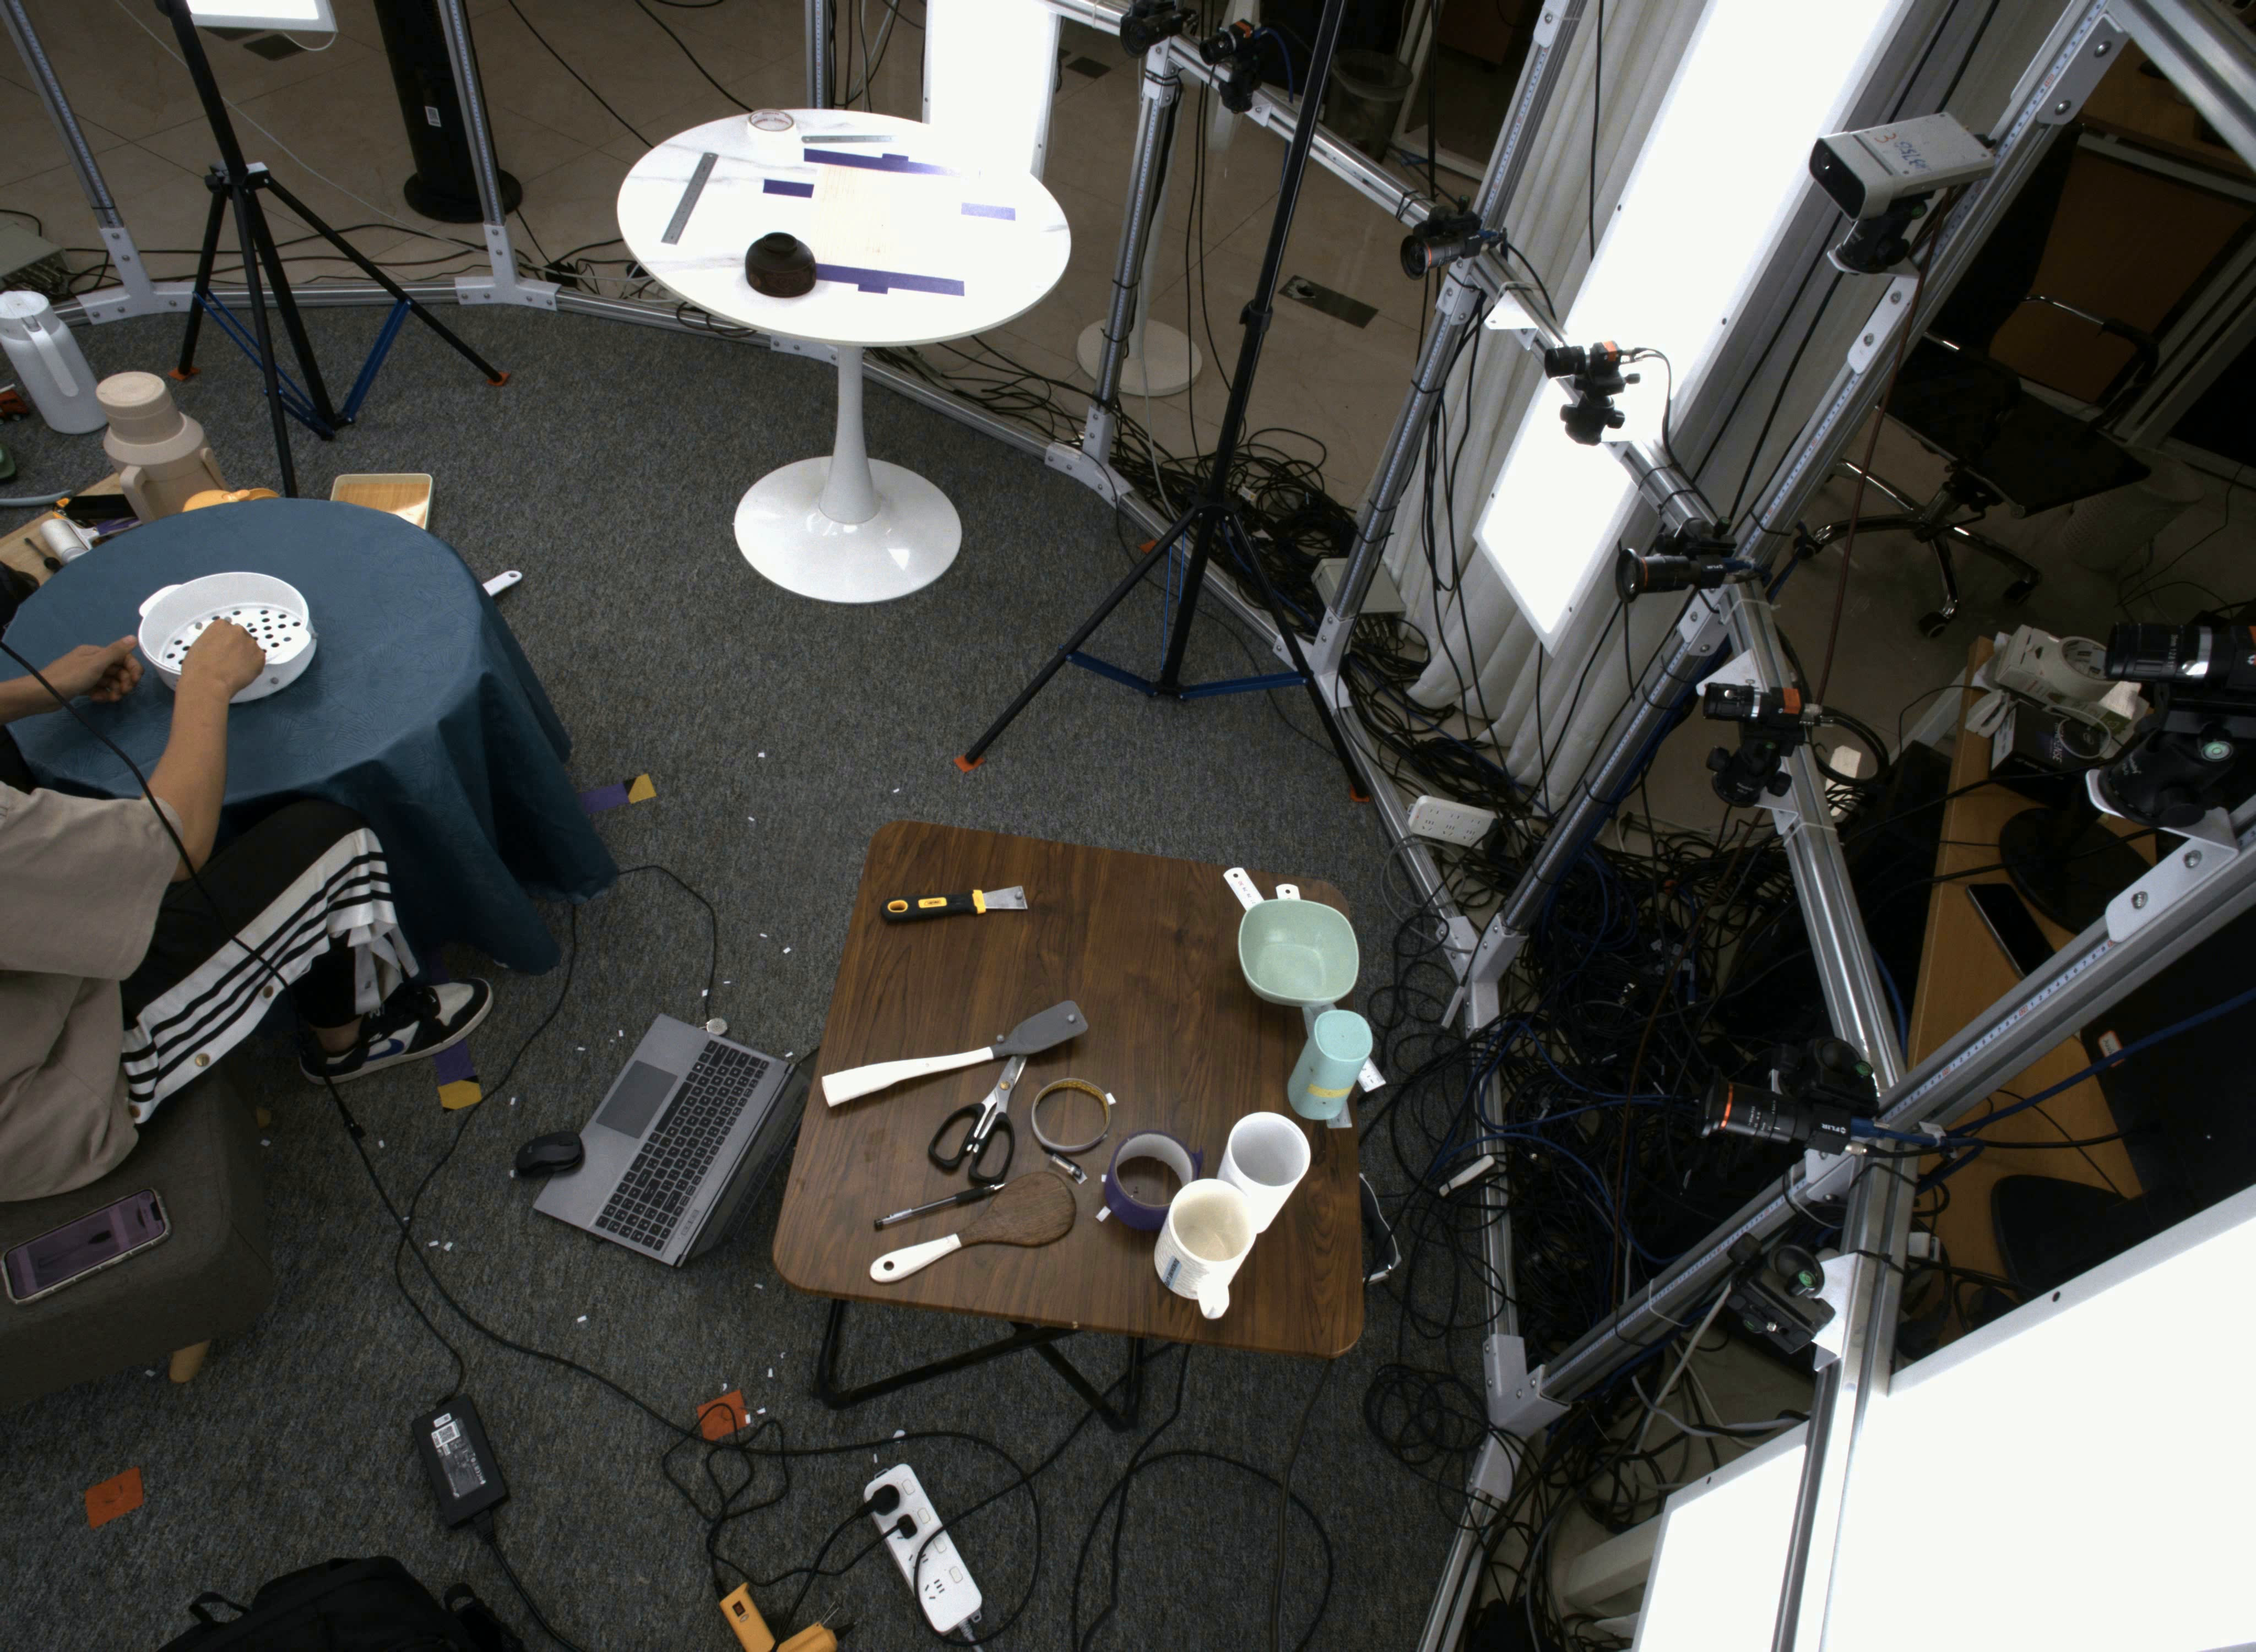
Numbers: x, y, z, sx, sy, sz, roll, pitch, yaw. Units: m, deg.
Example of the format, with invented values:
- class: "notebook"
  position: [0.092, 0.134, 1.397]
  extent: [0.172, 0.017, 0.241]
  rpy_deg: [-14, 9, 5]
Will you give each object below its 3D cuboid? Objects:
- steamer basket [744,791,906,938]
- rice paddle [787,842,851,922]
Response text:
- class: "steamer basket"
  position: [-0.387, 0.049, 1.666]
  extent: [0.225, 0.071, 0.201]
  rpy_deg: [31, 53, 14]
- class: "rice paddle"
  position: [-0.373, 0.057, 1.583]
  extent: [0.069, 0.030, 0.198]
  rpy_deg: [-1, 24, -24]
